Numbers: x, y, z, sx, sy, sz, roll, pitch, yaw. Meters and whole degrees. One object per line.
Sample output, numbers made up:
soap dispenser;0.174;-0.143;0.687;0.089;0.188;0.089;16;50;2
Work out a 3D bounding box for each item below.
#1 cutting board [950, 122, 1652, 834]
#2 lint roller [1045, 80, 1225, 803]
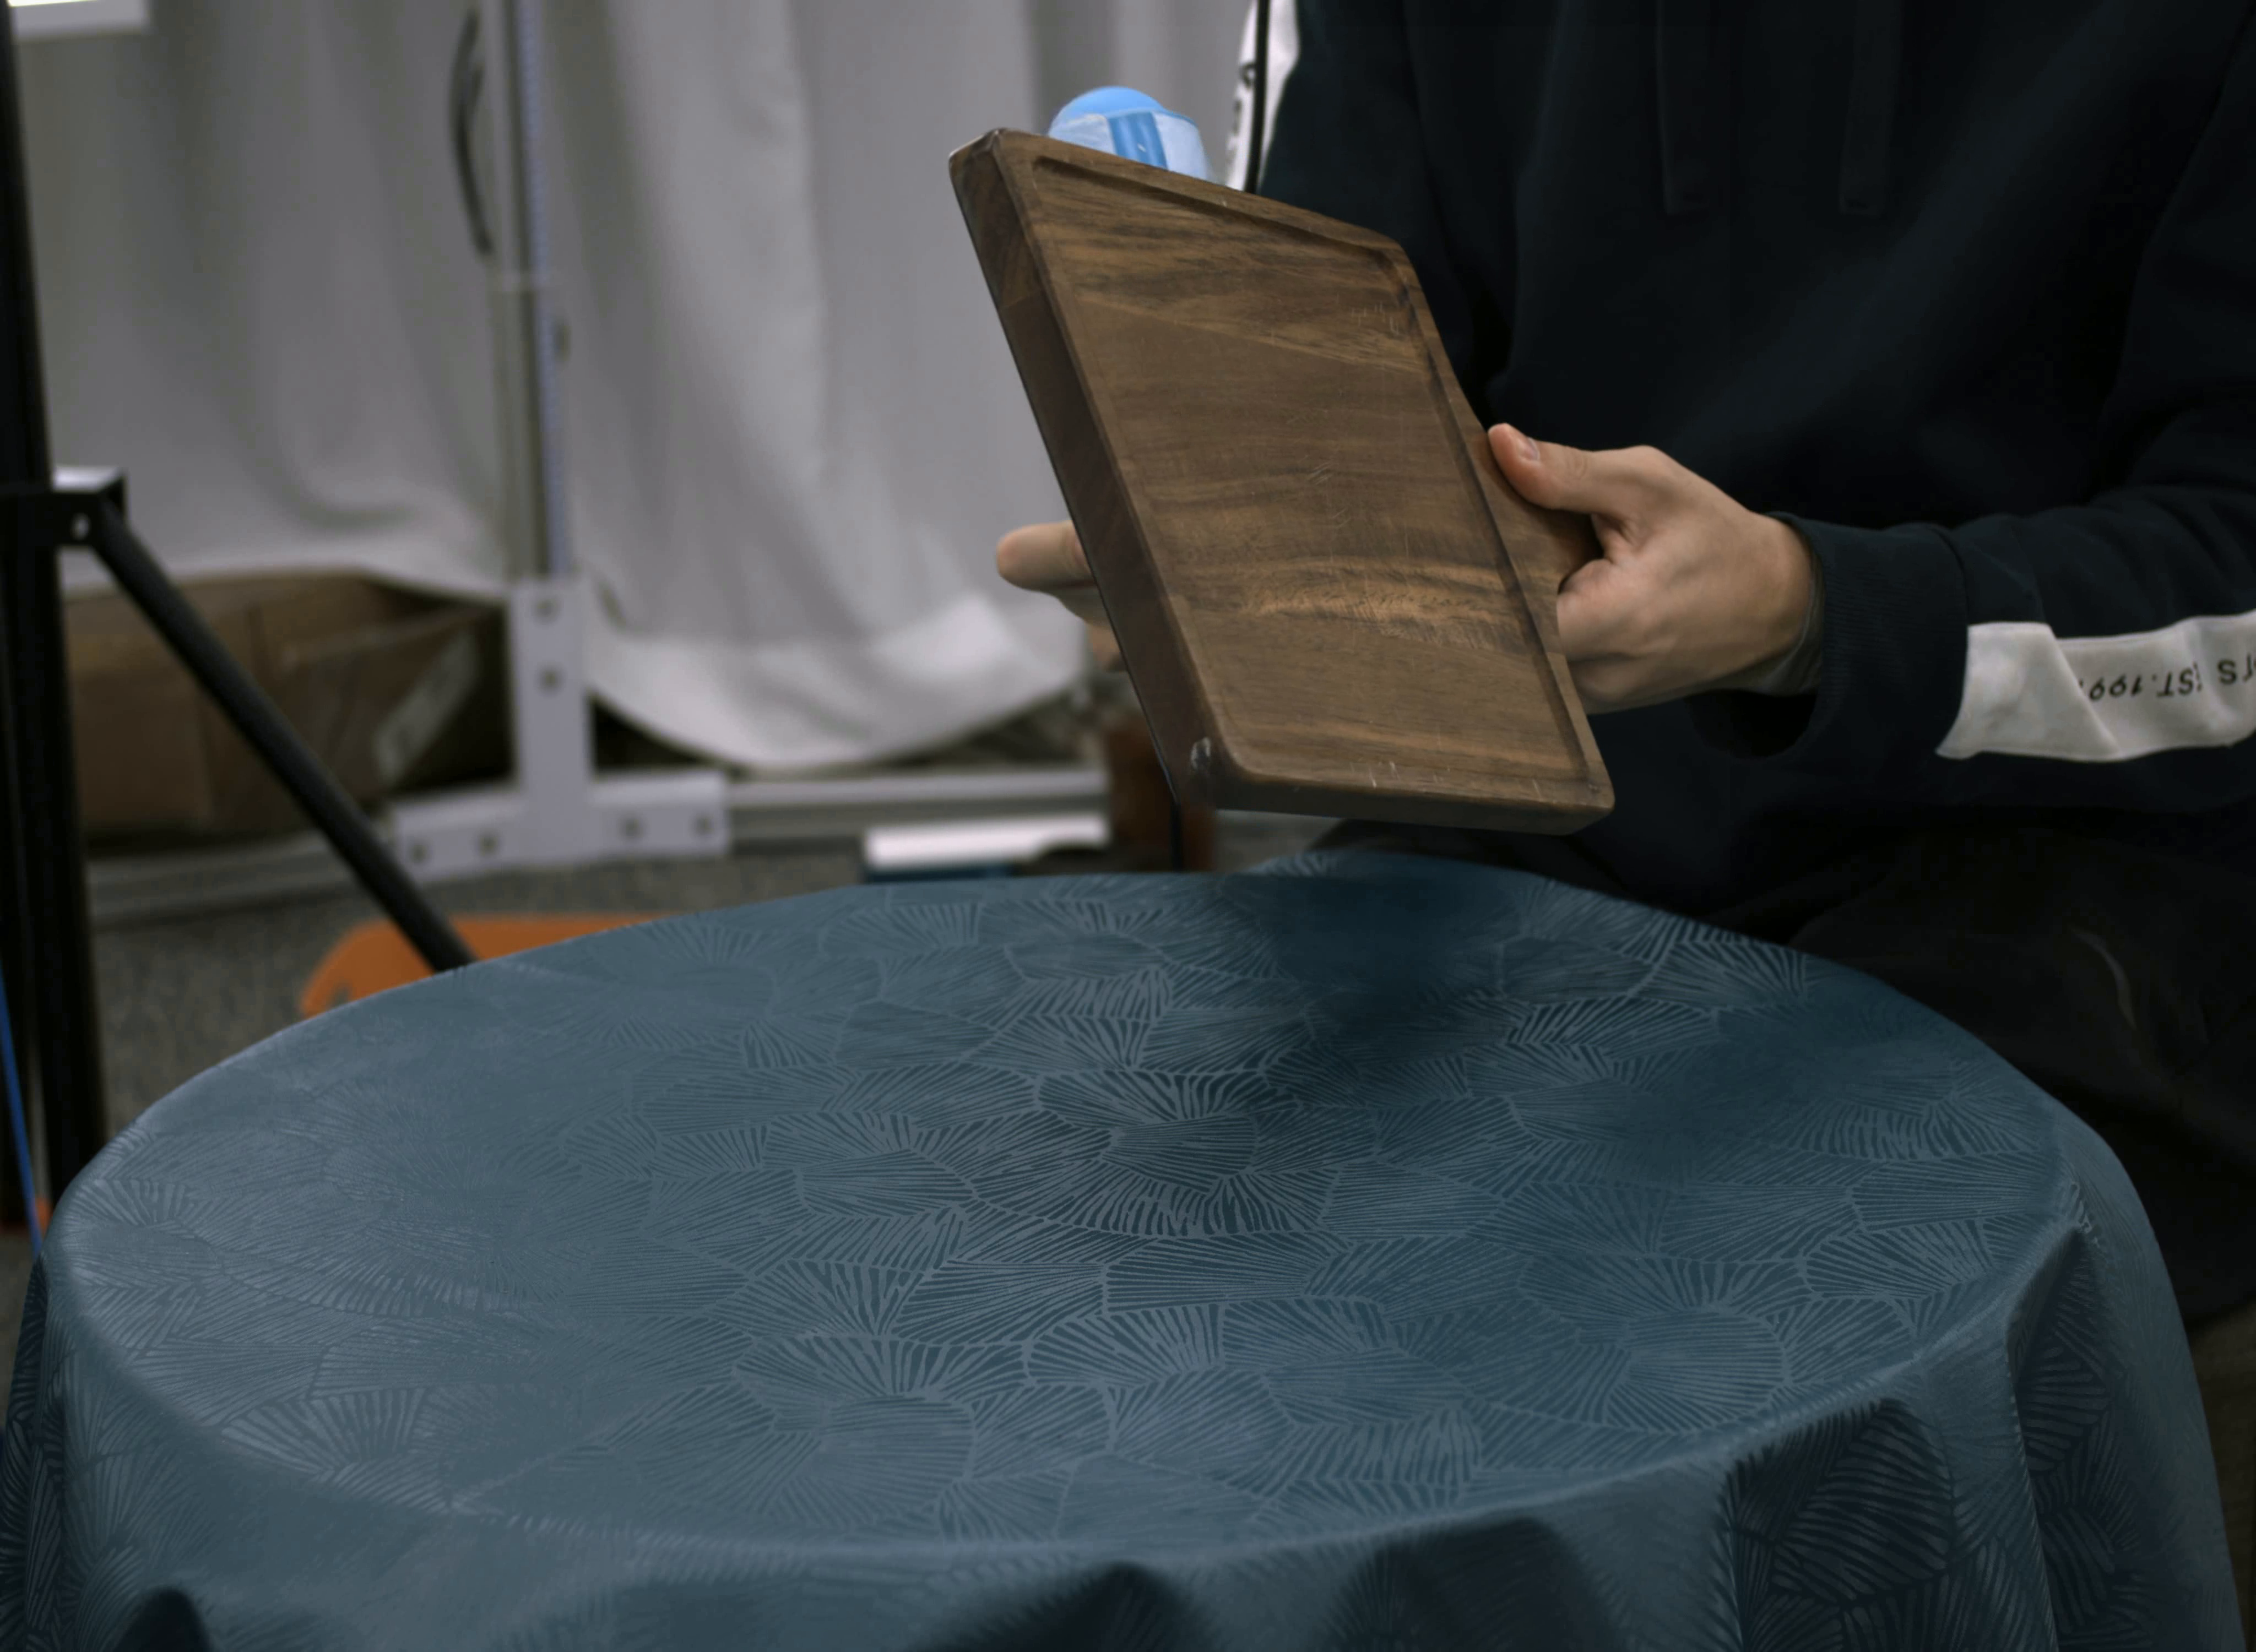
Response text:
cutting board;0.073;-0.092;1.550;0.023;0.203;0.344;-26;-15;26
lint roller;0.025;-0.094;1.617;0.067;0.232;0.178;-16;-22;-1
